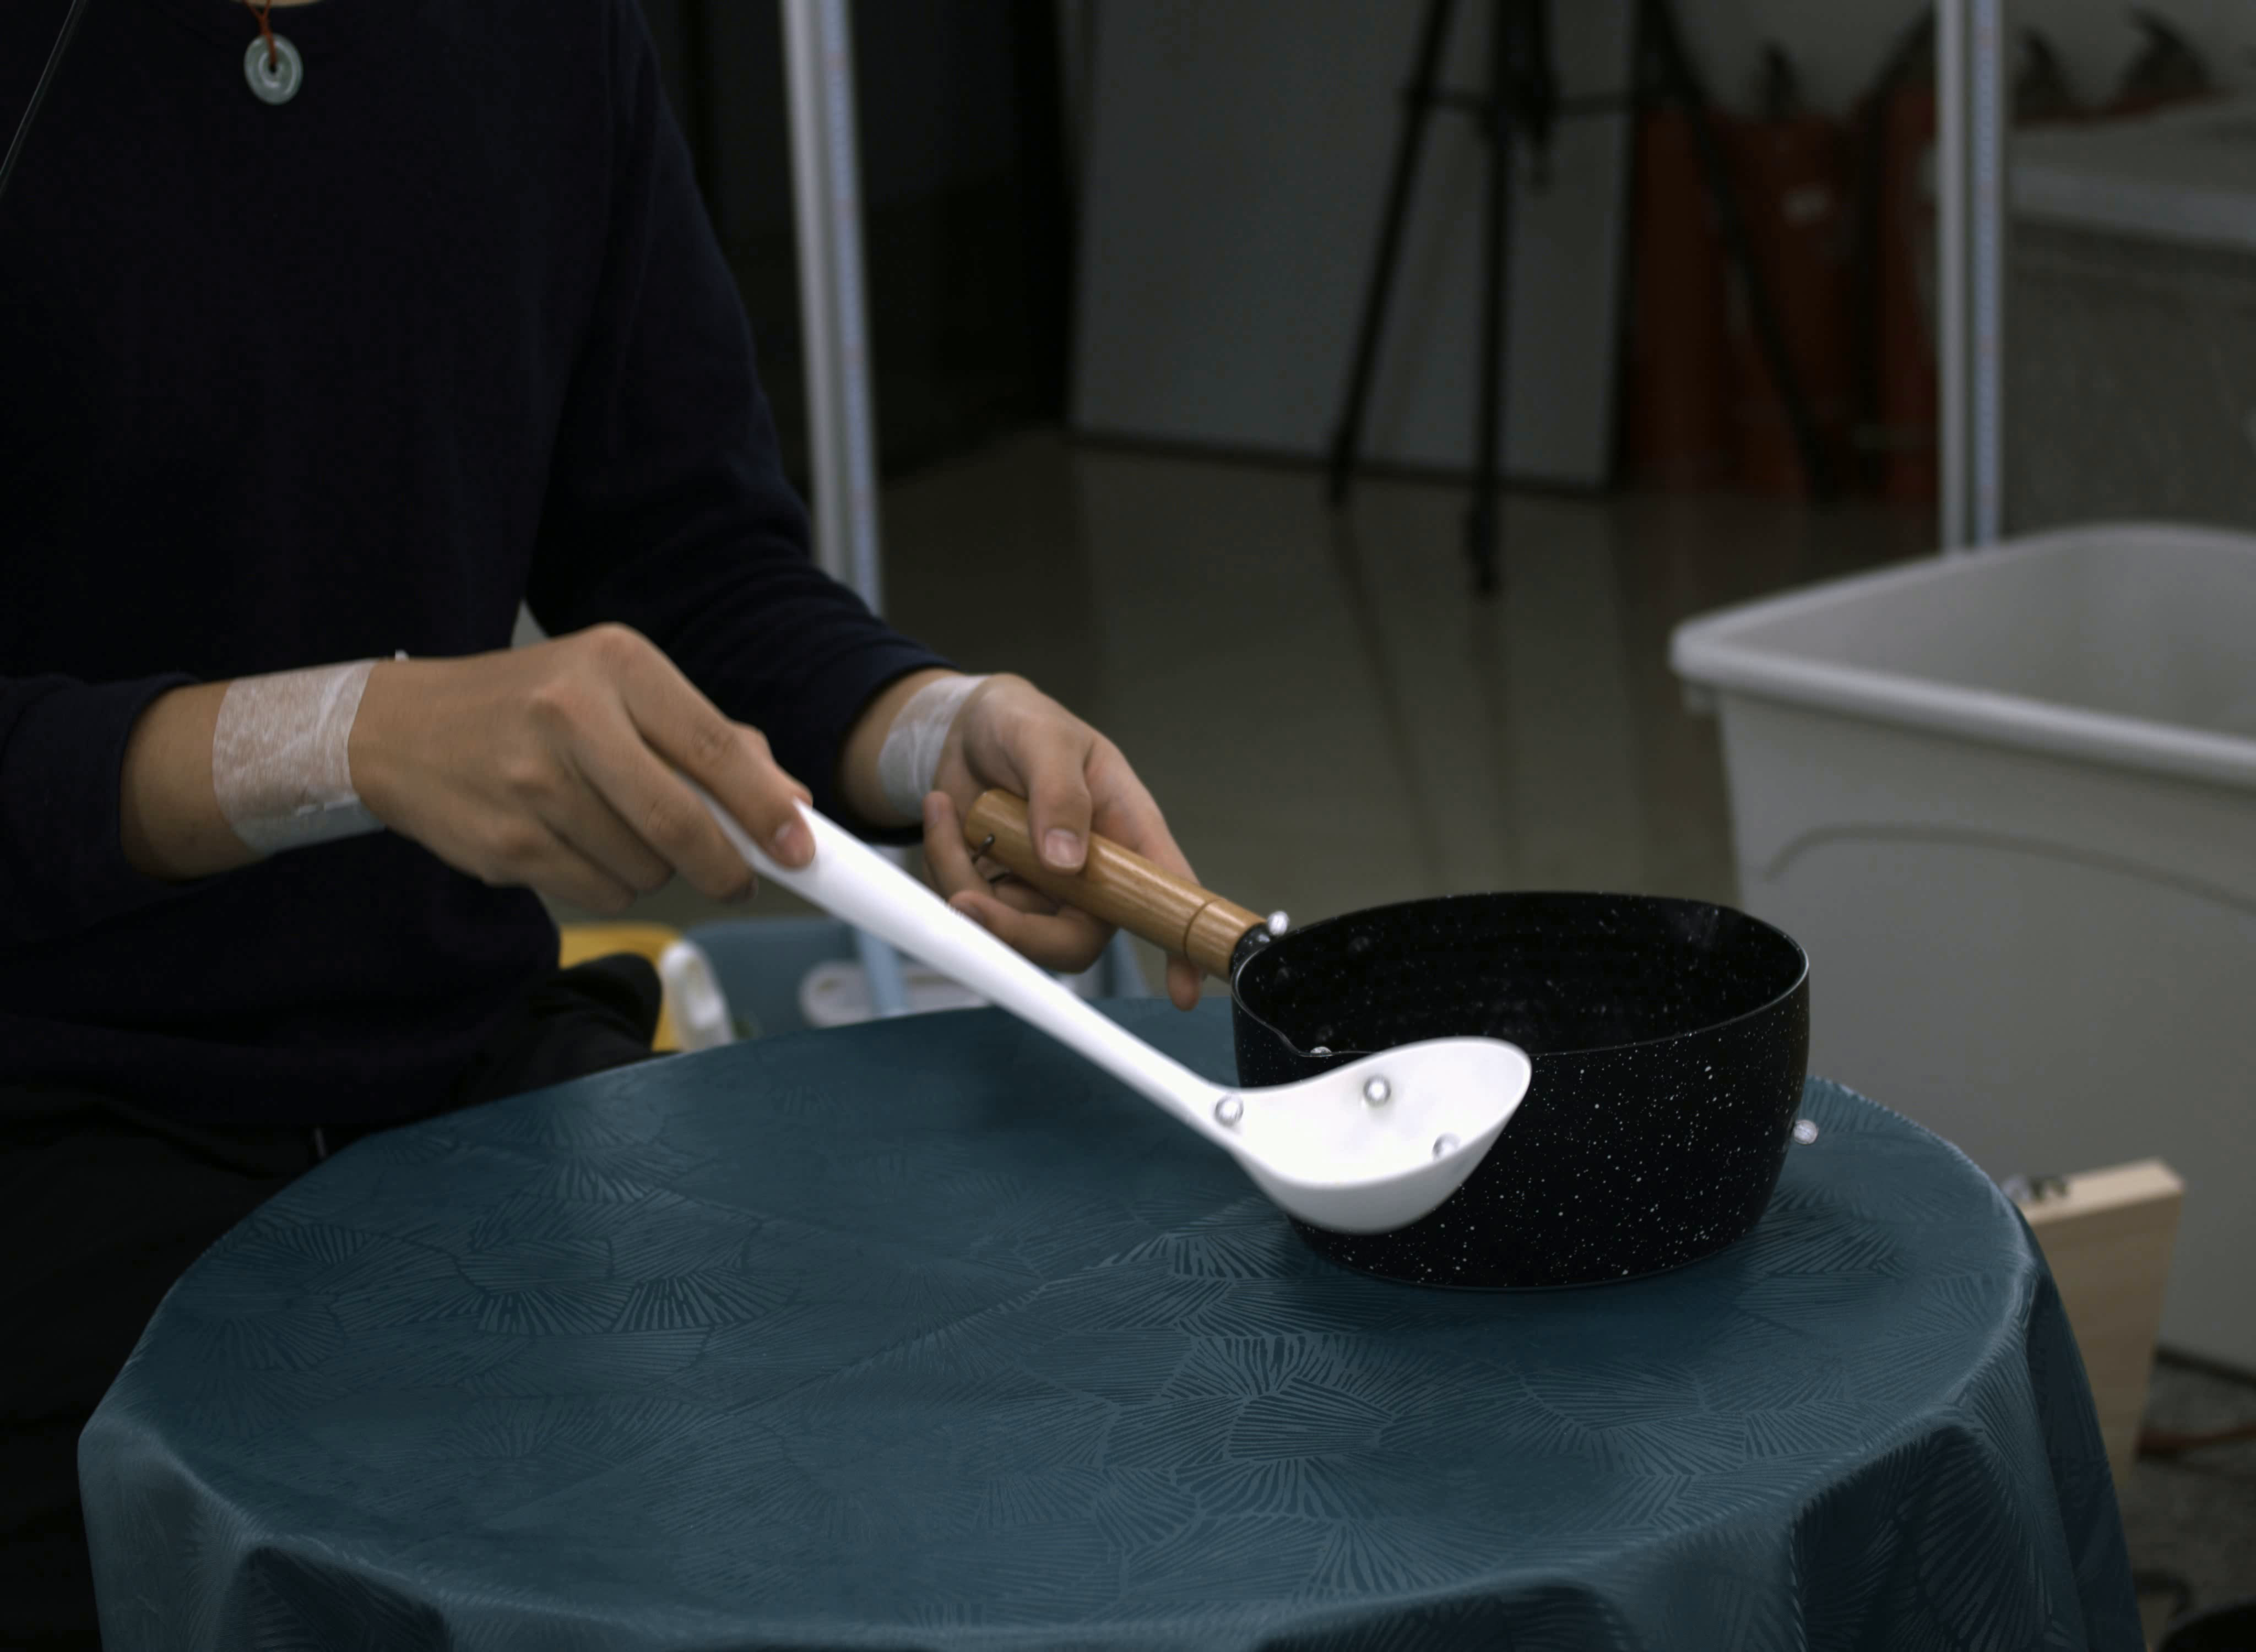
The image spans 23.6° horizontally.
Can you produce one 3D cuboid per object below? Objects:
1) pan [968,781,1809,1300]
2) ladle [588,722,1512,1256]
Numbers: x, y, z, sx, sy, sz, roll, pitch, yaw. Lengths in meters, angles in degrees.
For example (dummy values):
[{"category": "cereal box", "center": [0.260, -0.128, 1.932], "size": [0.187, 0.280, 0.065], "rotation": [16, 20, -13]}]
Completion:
[{"category": "pan", "center": [0.069, 0.063, 1.759], "size": [0.203, 0.109, 0.346], "rotation": [-18, 21, -42]}, {"category": "ladle", "center": [-0.028, 0.038, 1.567], "size": [0.293, 0.070, 0.089], "rotation": [30, 45, 15]}]
